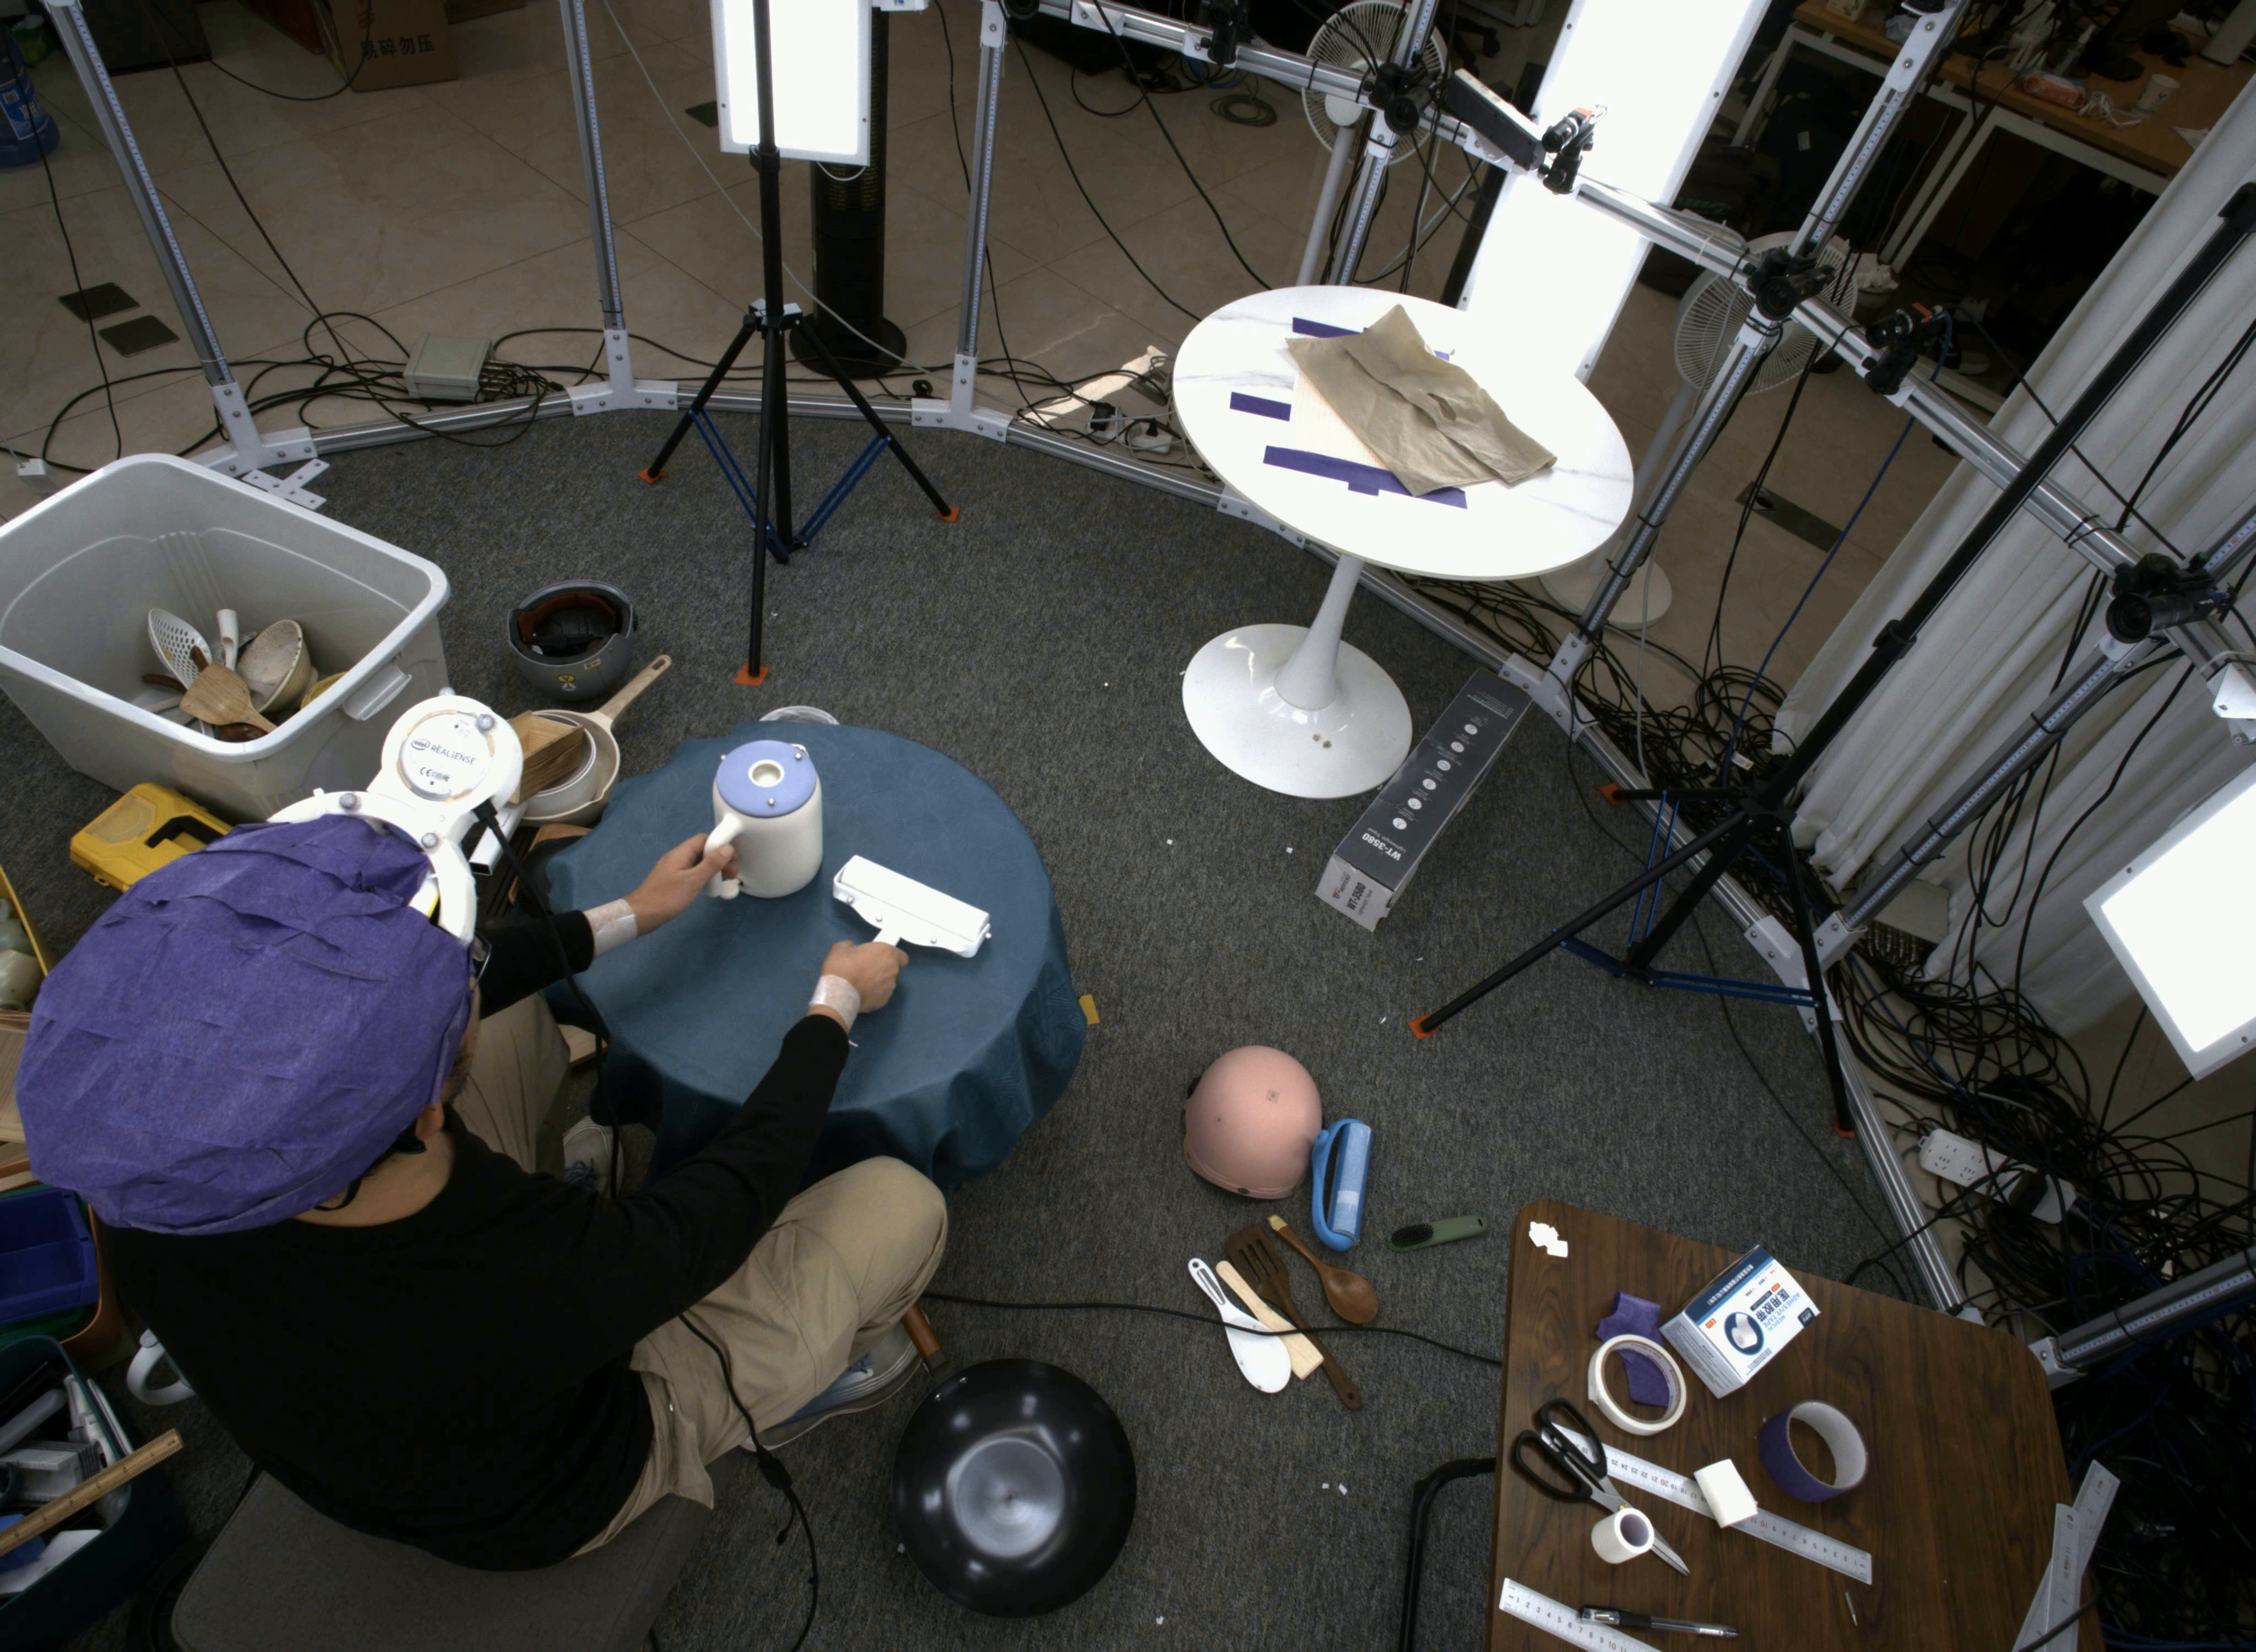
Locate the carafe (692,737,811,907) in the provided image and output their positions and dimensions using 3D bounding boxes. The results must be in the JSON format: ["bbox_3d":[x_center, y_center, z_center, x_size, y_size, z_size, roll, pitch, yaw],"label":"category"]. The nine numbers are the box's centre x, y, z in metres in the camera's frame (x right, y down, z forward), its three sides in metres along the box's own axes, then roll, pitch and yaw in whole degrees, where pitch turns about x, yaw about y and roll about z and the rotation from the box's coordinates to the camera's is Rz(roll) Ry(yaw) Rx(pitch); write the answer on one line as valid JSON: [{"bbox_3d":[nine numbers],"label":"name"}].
[{"bbox_3d":[-0.474,0.007,1.589,0.130,0.186,0.190,26,54,9],"label":"carafe"}]

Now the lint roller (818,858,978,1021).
[{"bbox_3d":[-0.314,0.147,1.587,0.201,0.049,0.223,24,41,2],"label":"lint roller"}]
